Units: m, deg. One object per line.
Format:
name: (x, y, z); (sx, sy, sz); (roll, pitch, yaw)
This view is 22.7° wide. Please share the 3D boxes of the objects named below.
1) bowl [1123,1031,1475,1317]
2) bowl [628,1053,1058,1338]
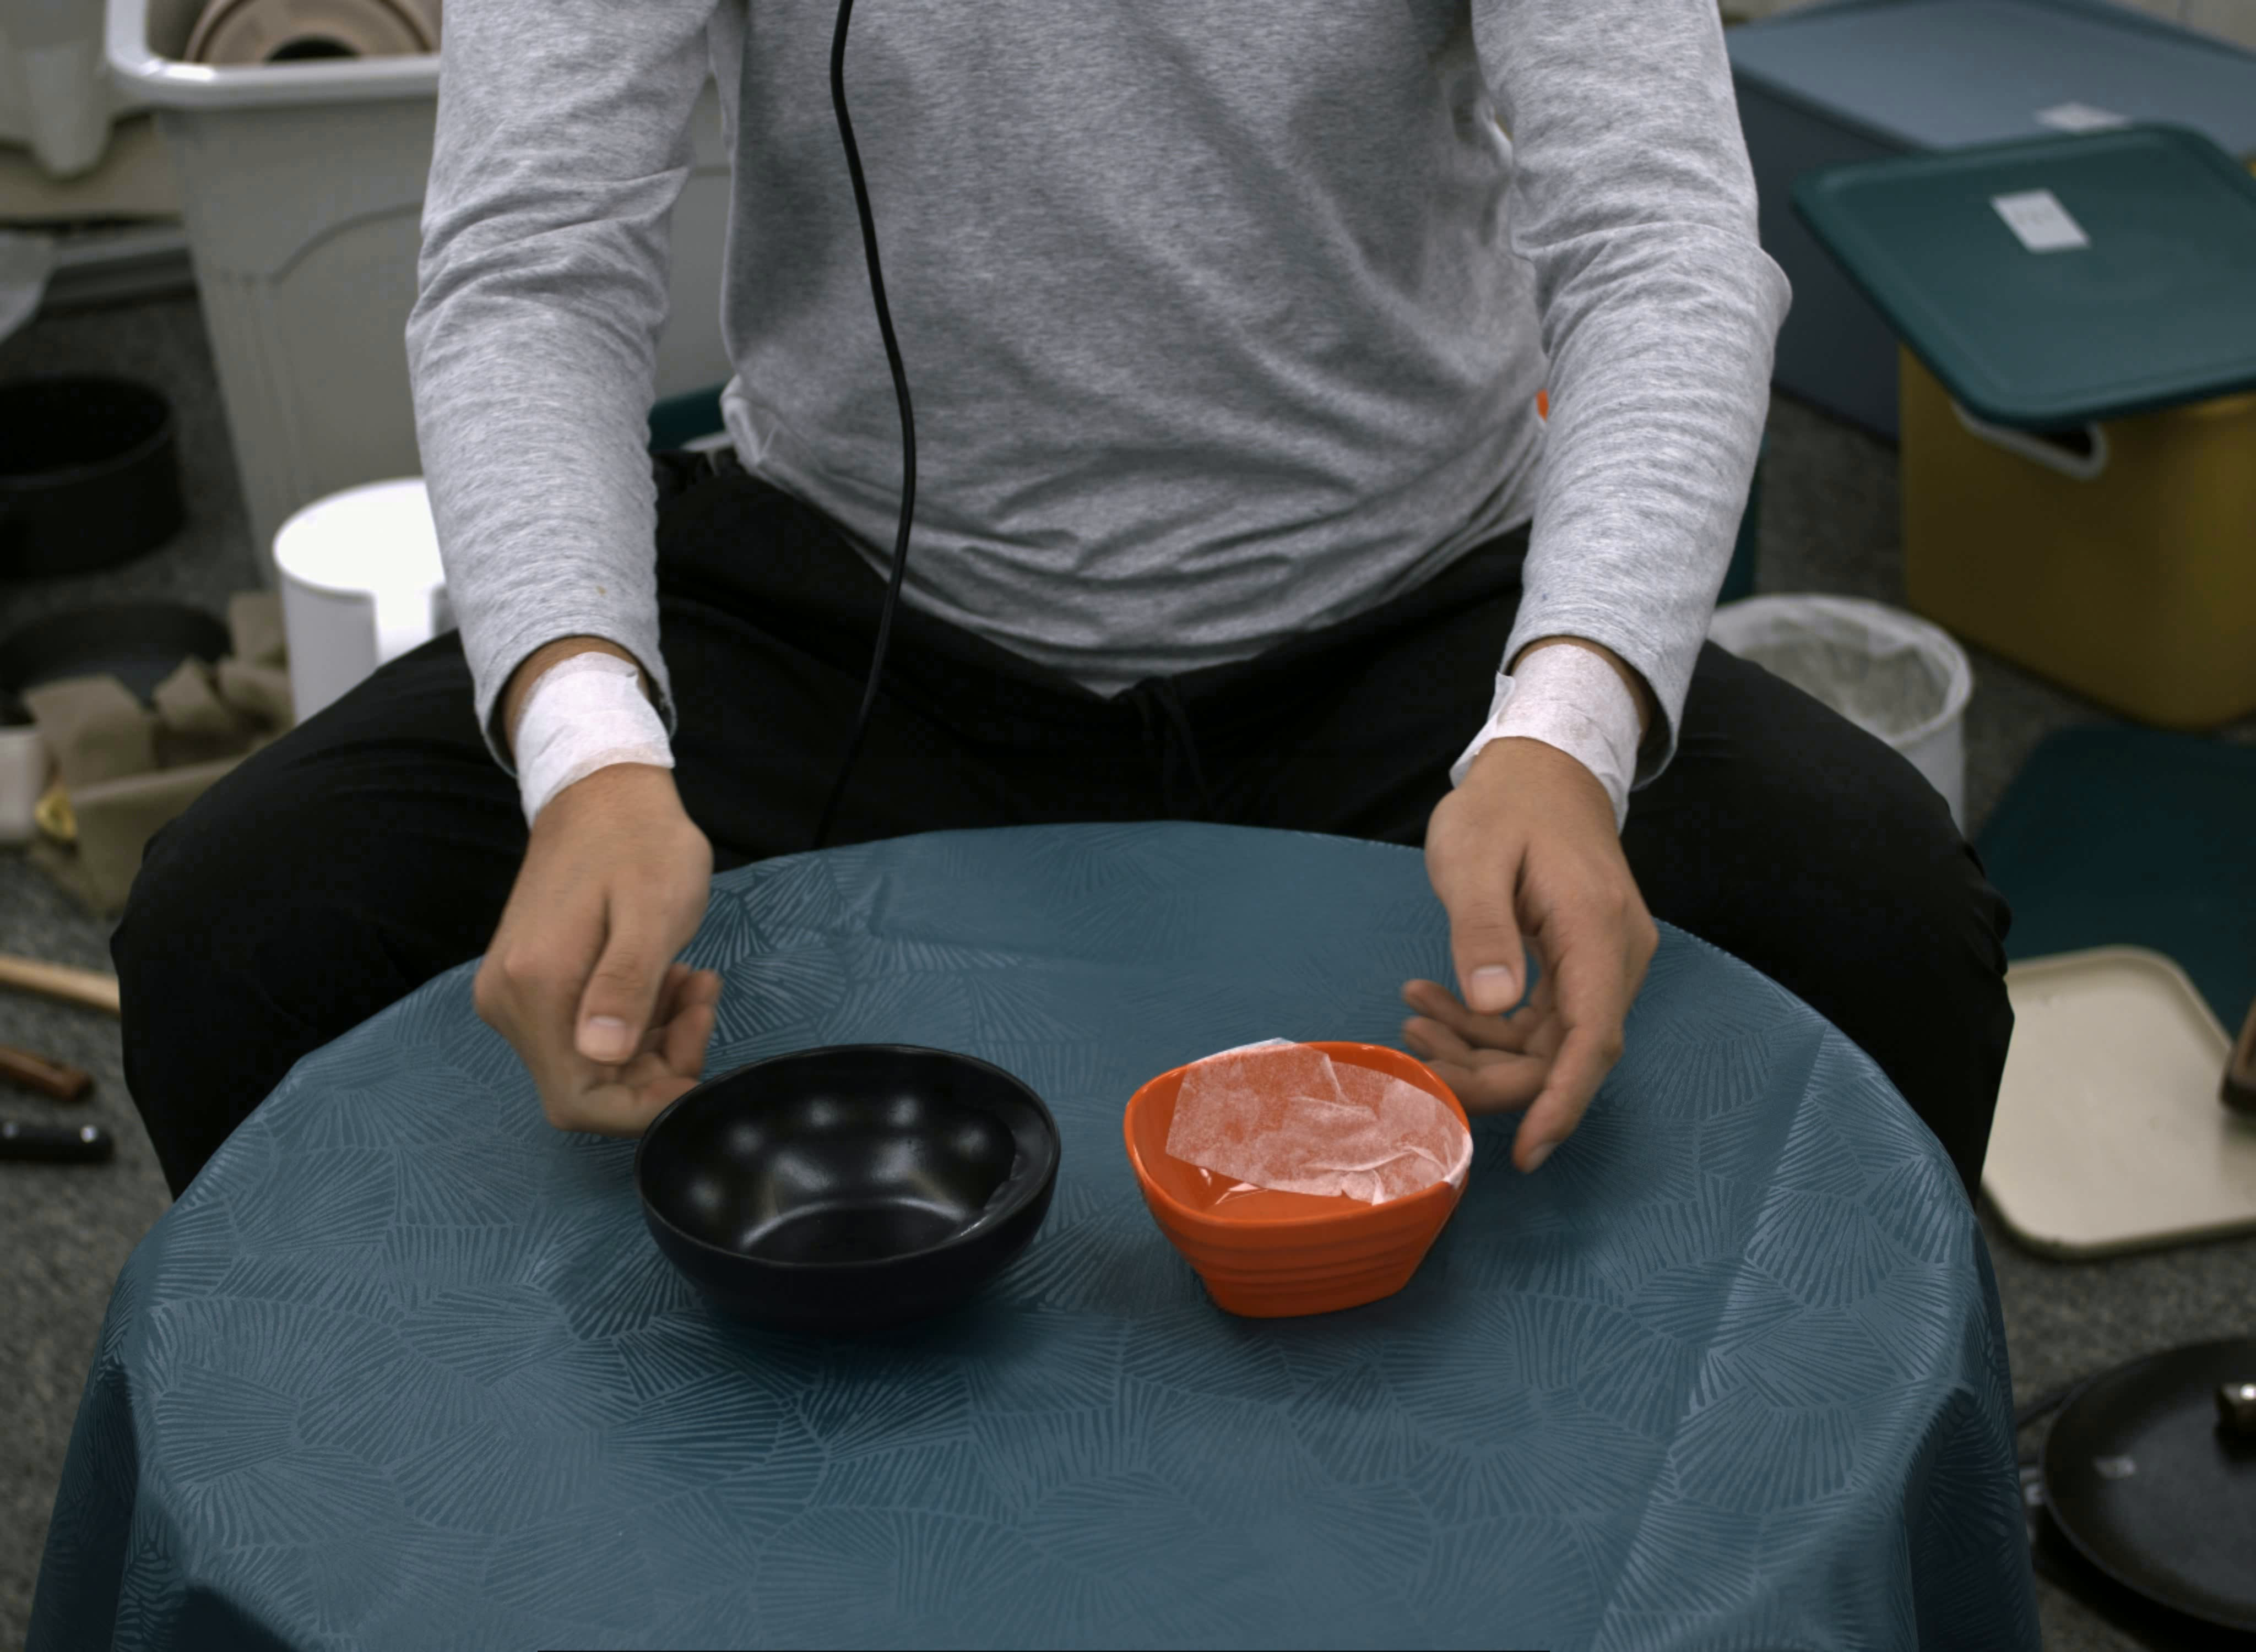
bowl: (0.055, 0.117, 1.808); (0.118, 0.051, 0.121); (-3, 29, 2)
bowl: (-0.090, 0.127, 1.810); (0.139, 0.049, 0.142); (-2, 25, 1)
